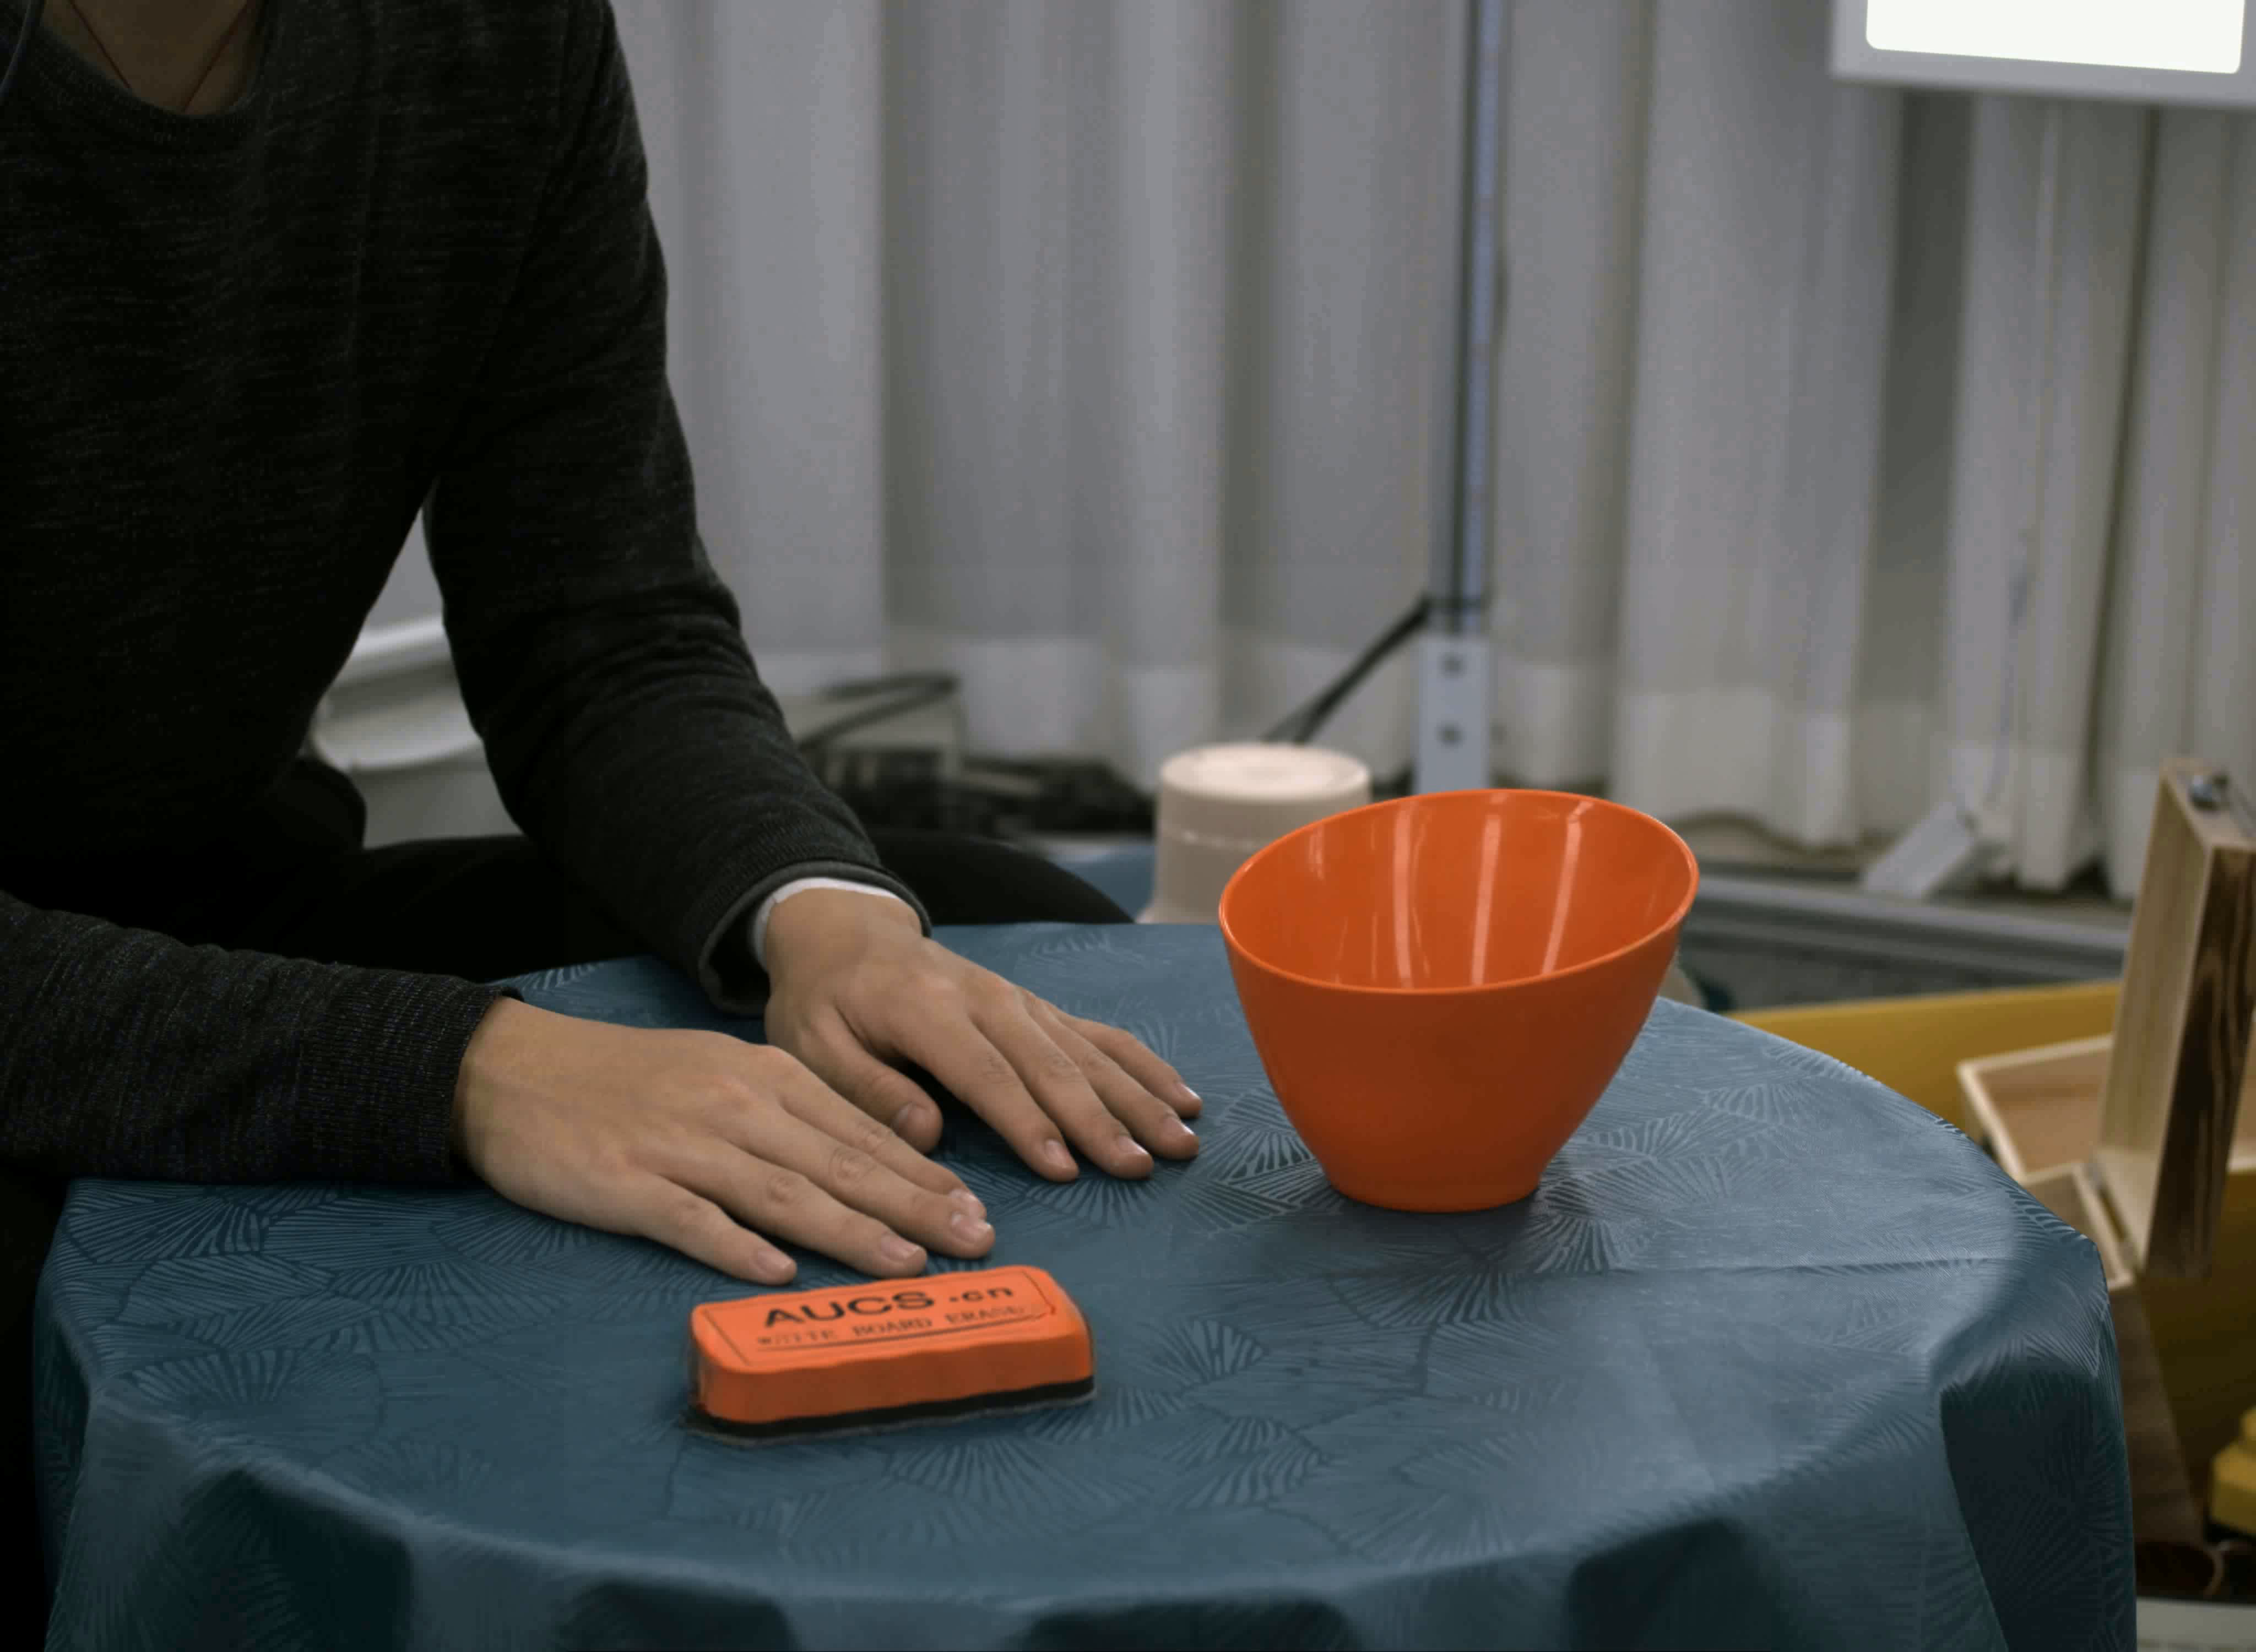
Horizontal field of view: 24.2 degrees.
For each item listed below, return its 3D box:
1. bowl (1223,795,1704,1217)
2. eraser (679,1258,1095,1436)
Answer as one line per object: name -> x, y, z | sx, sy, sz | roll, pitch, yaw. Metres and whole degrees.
bowl -> 0.102, 0.059, 1.627 | 0.147, 0.105, 0.147 | 1, 16, 0
eraser -> -0.066, 0.143, 1.452 | 0.108, 0.023, 0.058 | -4, 18, -21
